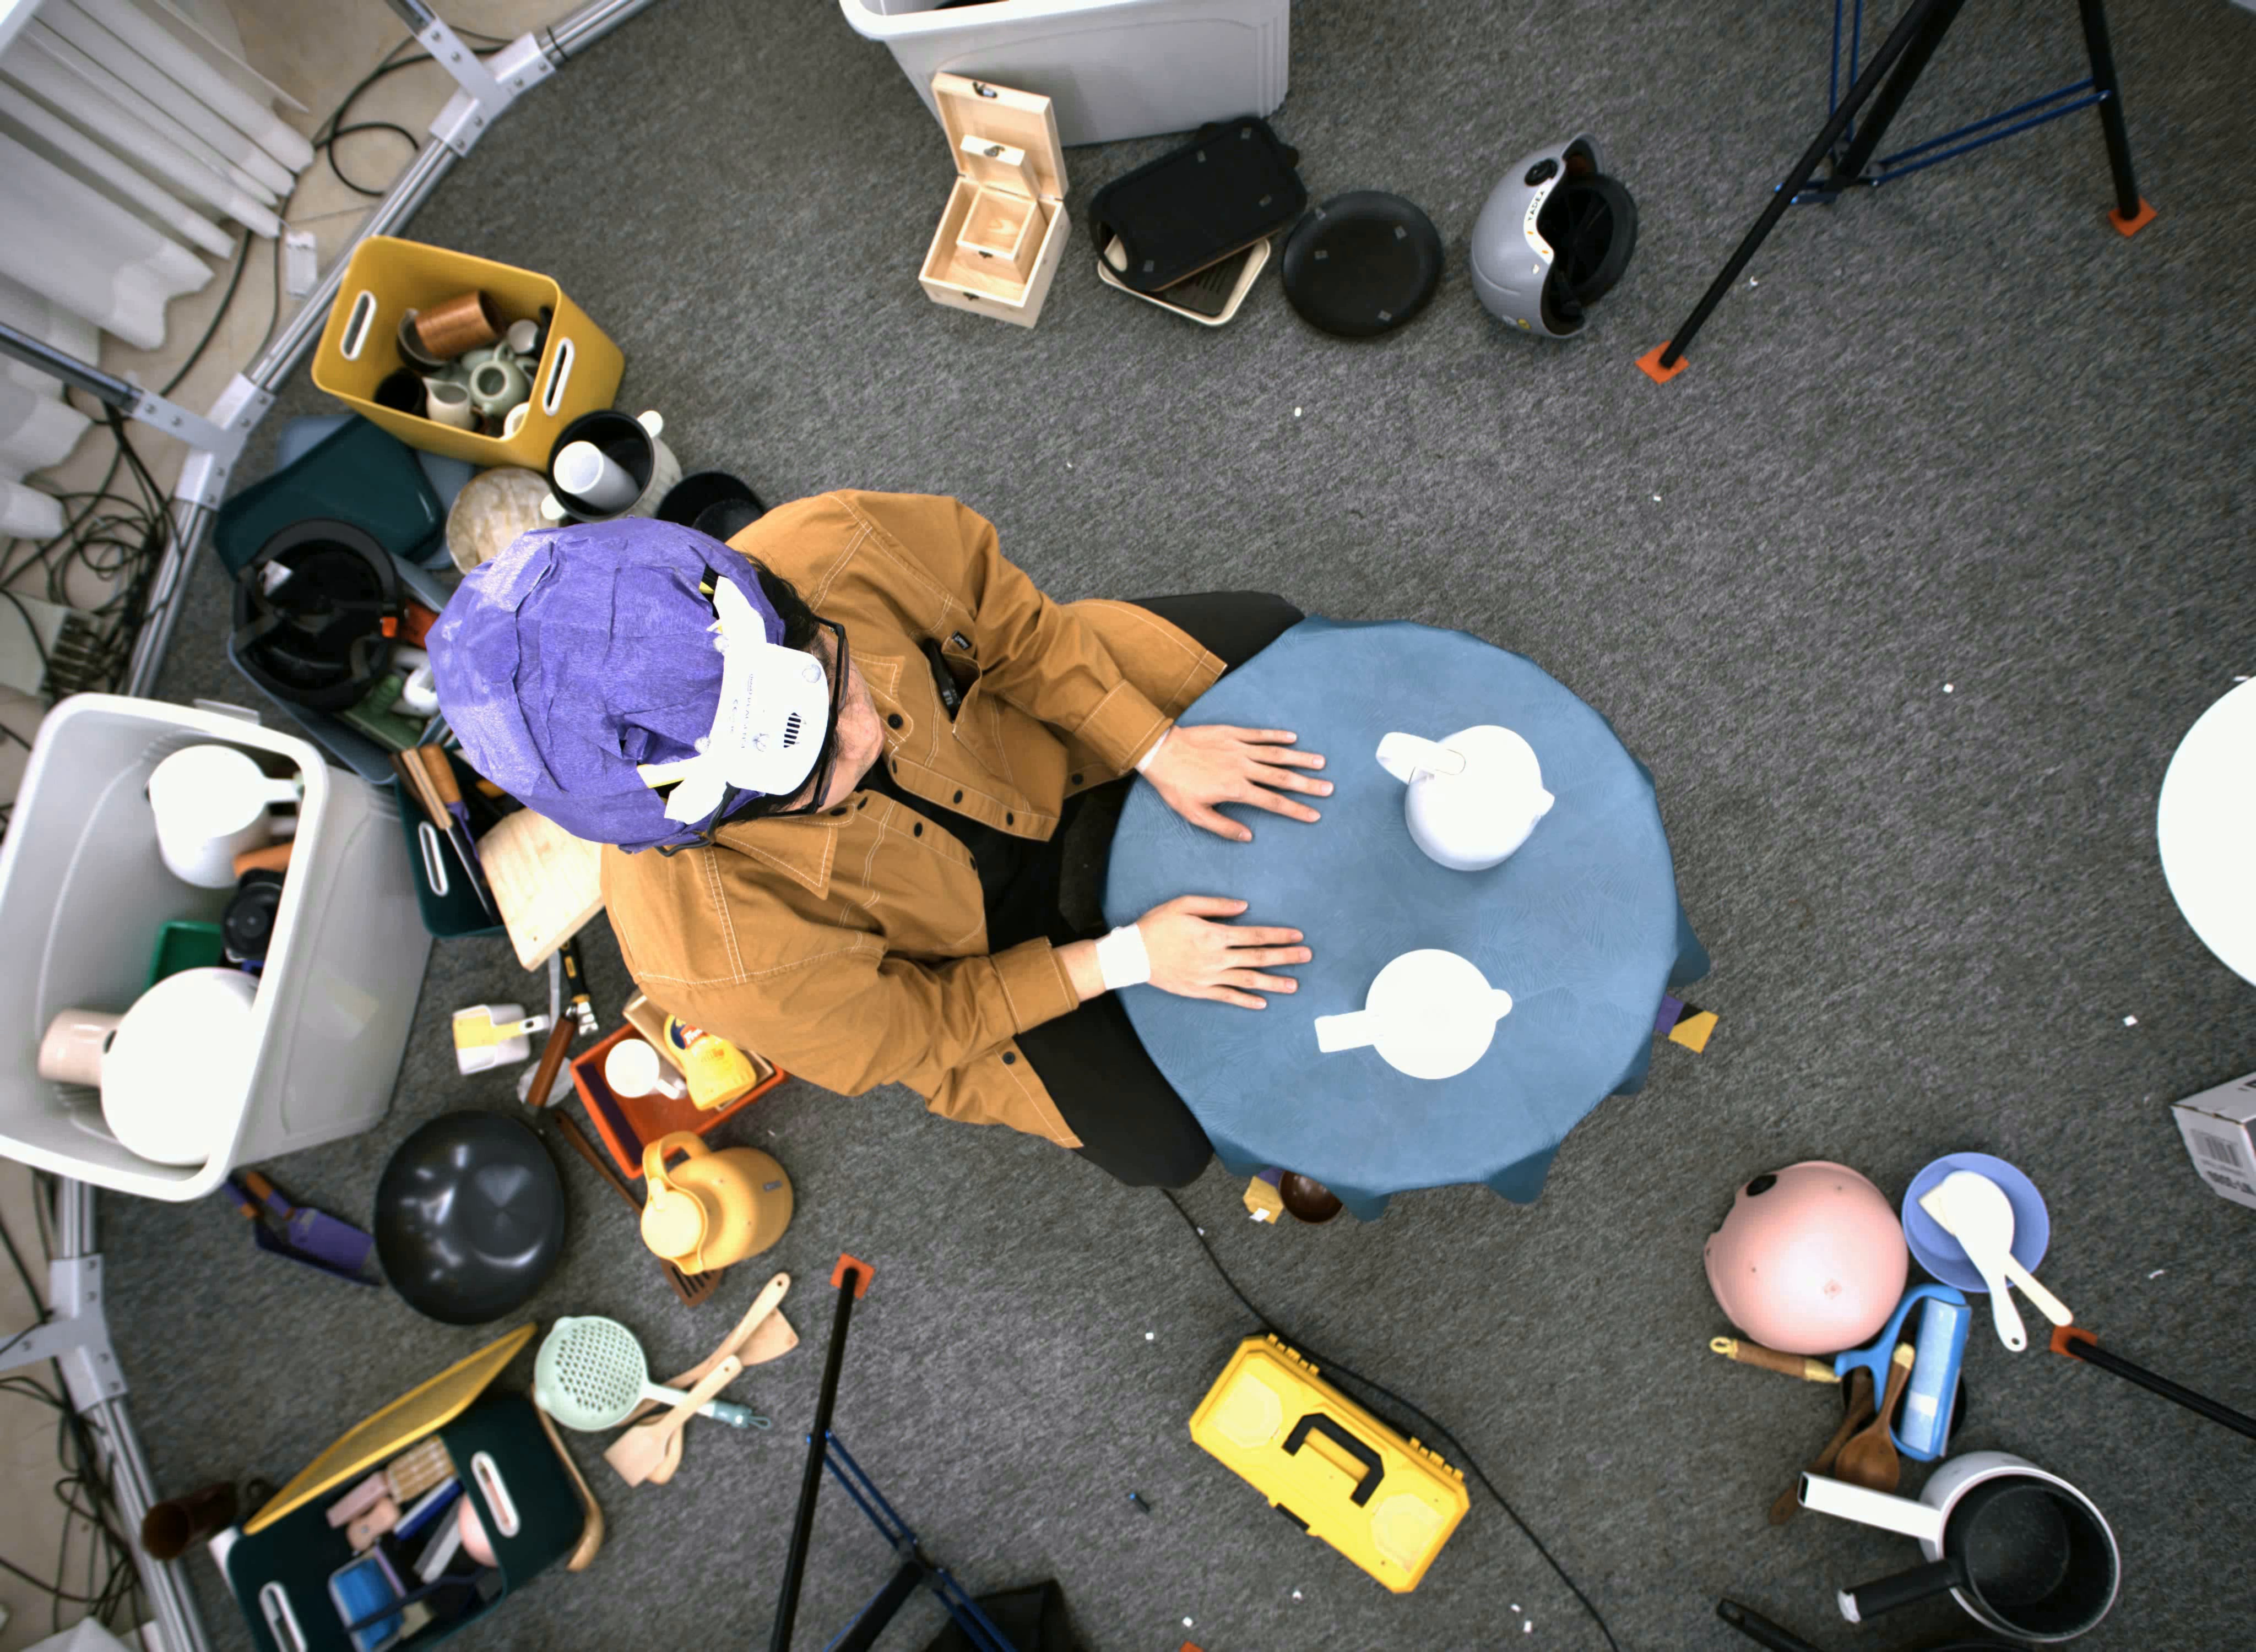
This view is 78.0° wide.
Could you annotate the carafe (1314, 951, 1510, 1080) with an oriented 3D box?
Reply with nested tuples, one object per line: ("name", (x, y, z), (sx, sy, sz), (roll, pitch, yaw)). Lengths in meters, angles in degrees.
("carafe", (0.268, 0.182, 1.321), (0.174, 0.269, 0.123), (-13, 84, 9))

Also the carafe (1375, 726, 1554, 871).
("carafe", (0.319, -0.040, 1.331), (0.167, 0.249, 0.132), (25, 90, 12))
